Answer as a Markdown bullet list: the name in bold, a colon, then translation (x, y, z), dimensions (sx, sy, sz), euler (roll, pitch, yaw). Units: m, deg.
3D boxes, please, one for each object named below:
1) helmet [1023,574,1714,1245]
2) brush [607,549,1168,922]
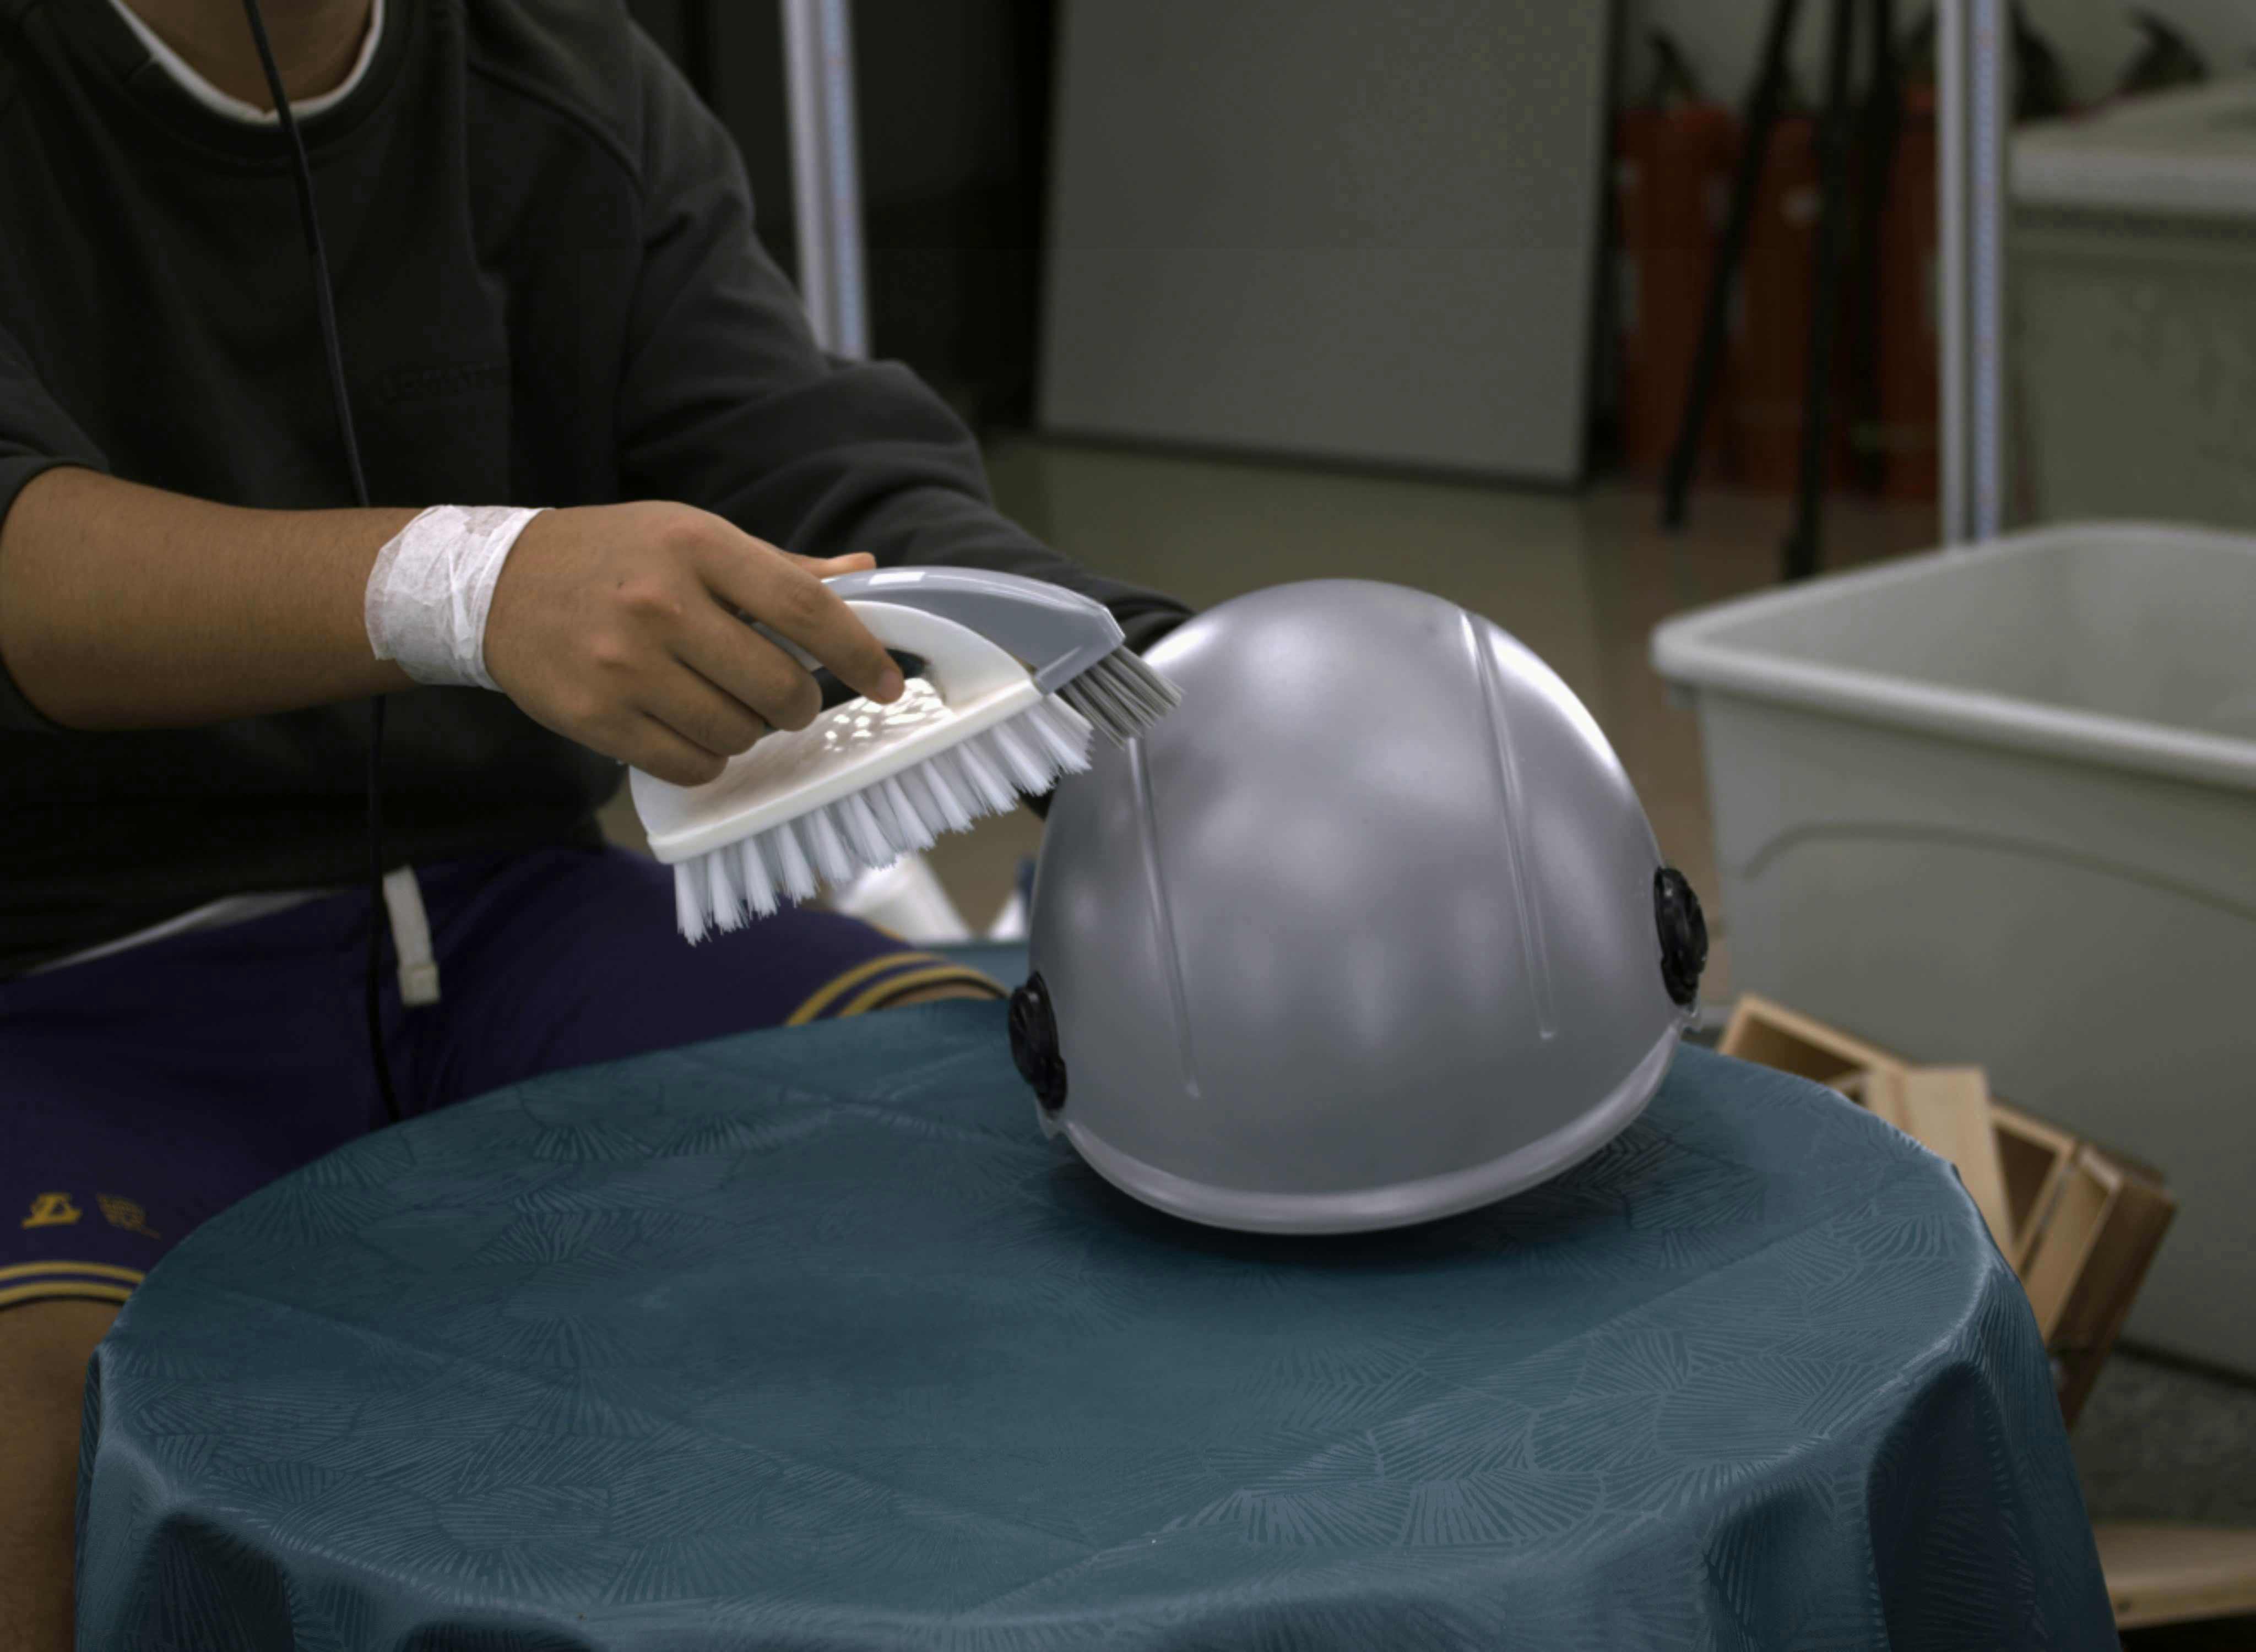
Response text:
- **helmet**: translation (0.070, 0.010, 1.773), dimensions (0.229, 0.170, 0.277), euler (-11, 18, 3)
- **brush**: translation (-0.082, -0.044, 1.705), dimensions (0.175, 0.094, 0.061), euler (-21, 23, 12)
